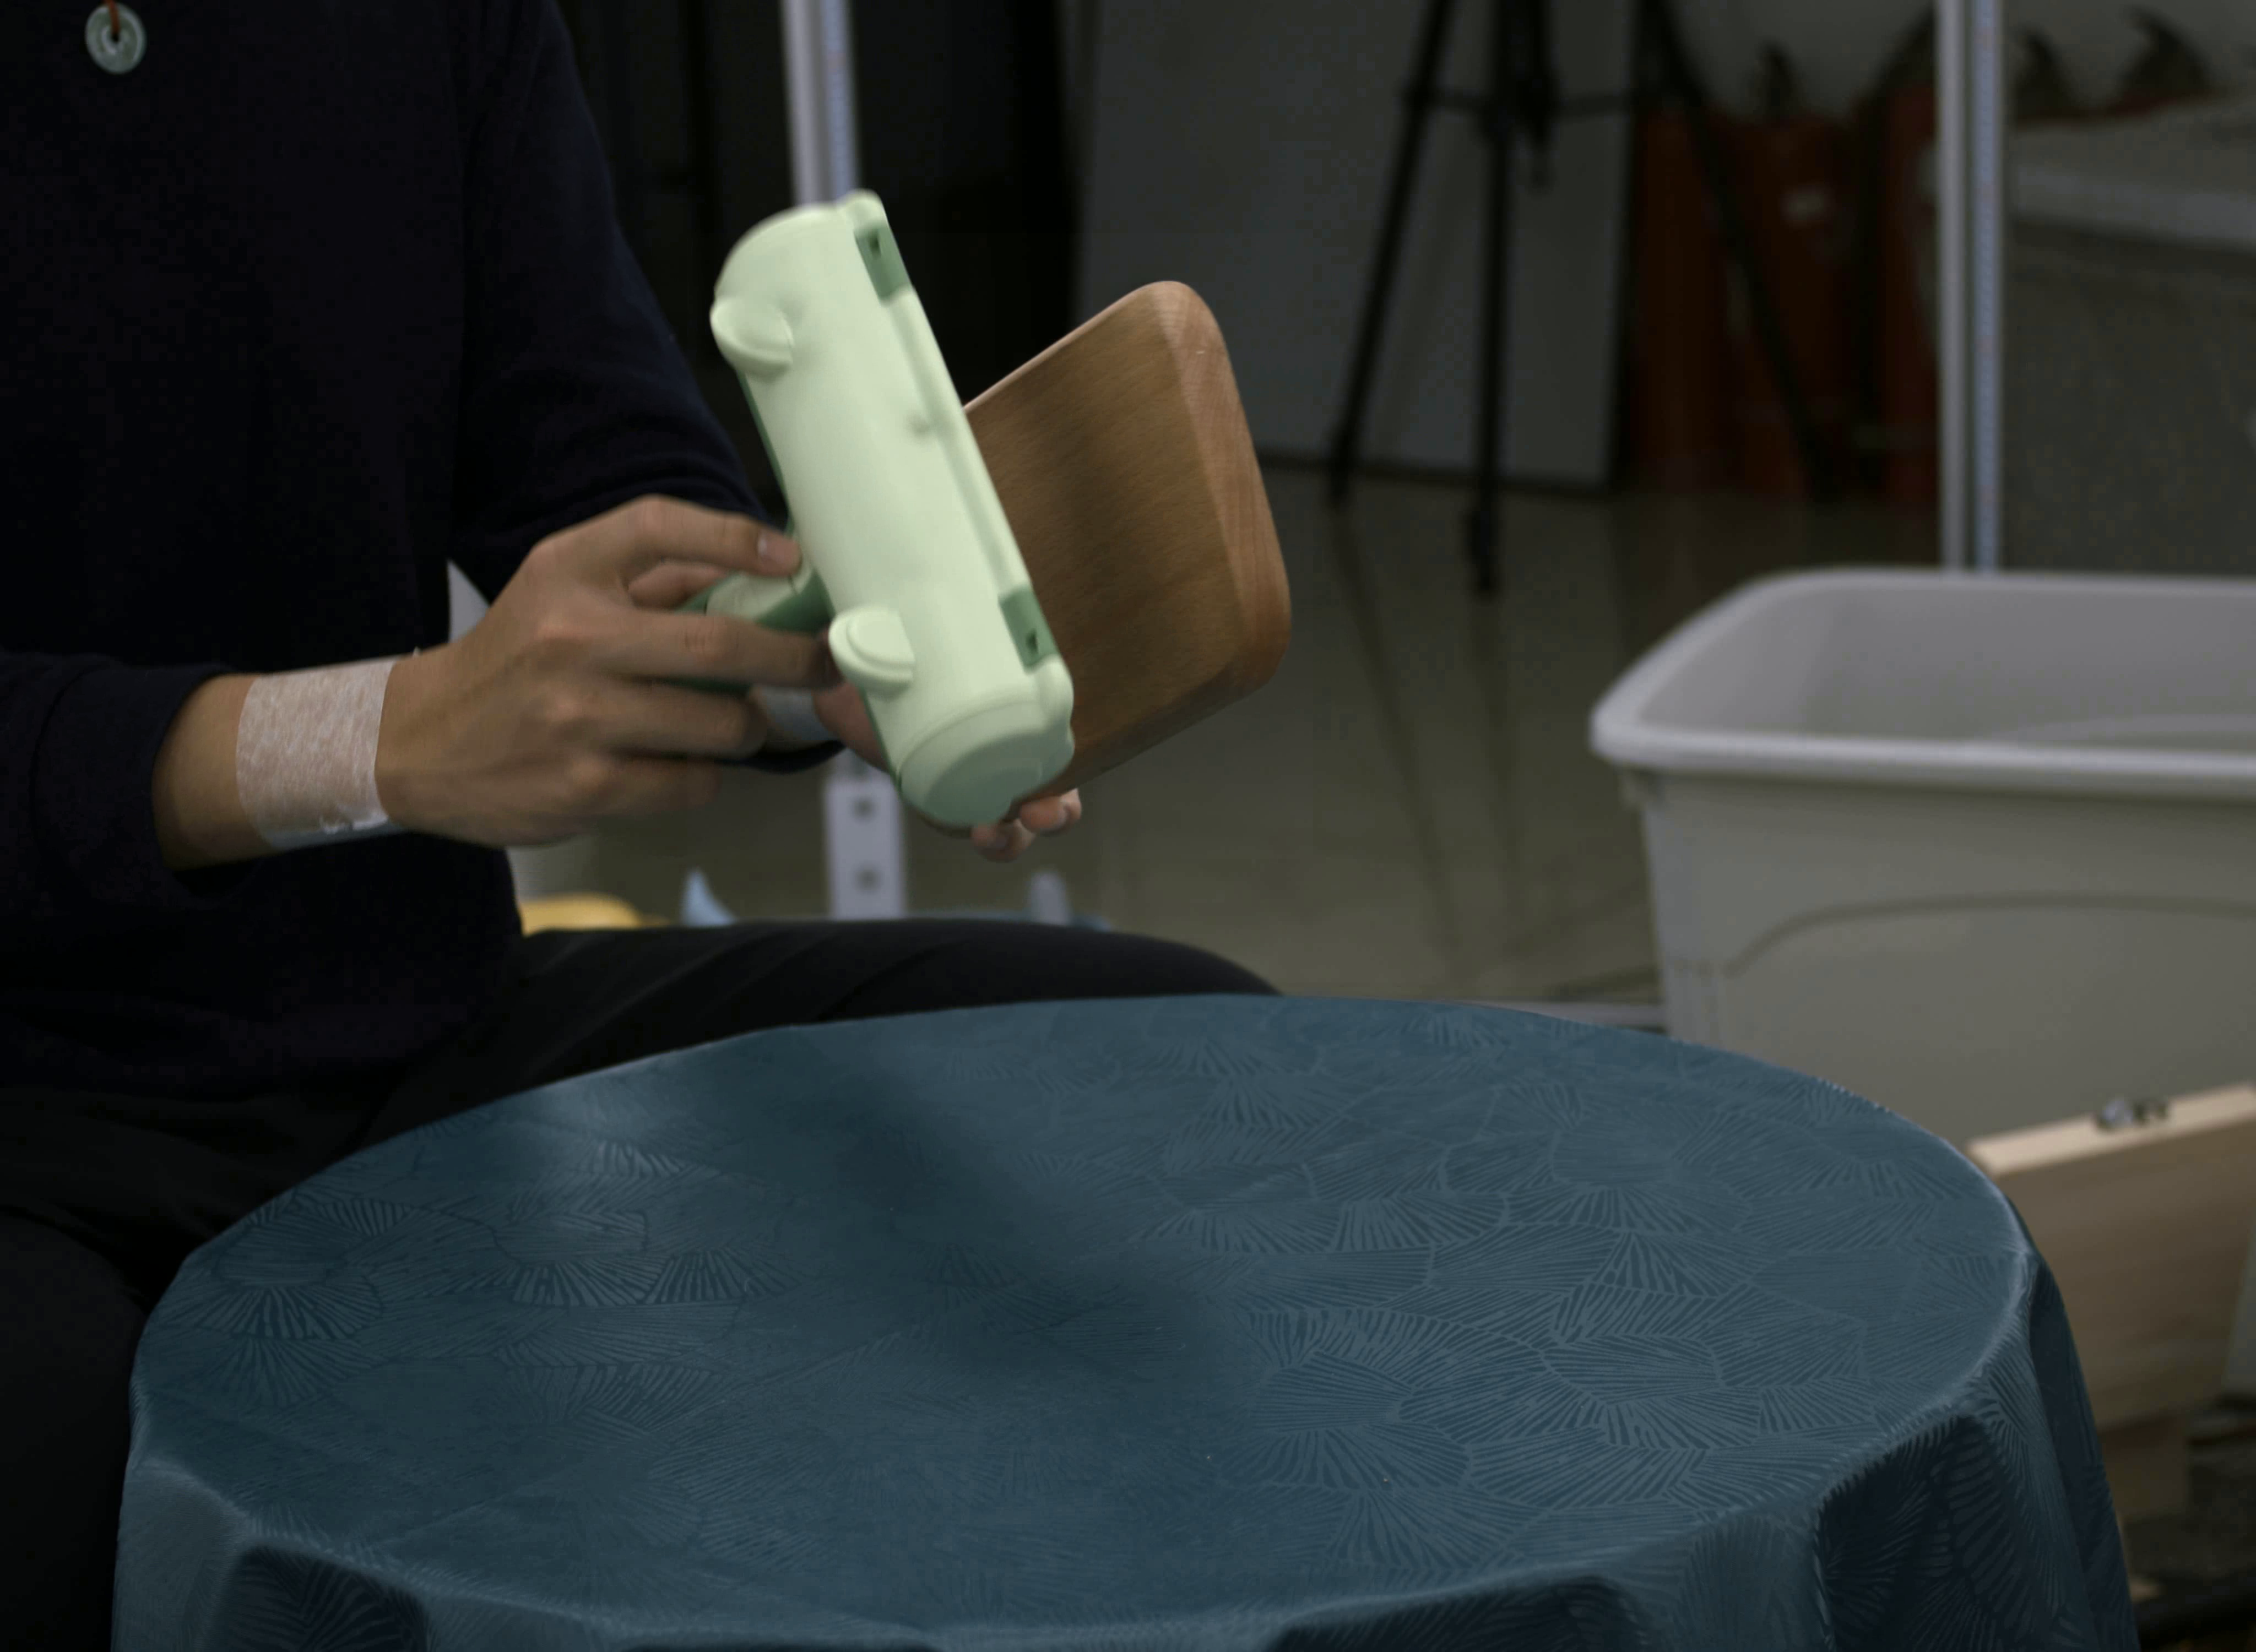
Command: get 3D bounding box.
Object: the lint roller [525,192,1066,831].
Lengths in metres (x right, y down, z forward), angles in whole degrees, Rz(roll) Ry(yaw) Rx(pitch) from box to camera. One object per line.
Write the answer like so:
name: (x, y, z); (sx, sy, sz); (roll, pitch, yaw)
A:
lint roller: (-0.121, -0.067, 1.600); (0.183, 0.201, 0.081); (-32, -31, 16)

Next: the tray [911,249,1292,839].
tray: (-0.024, -0.082, 1.665); (0.022, 0.132, 0.253); (-7, -11, -29)
